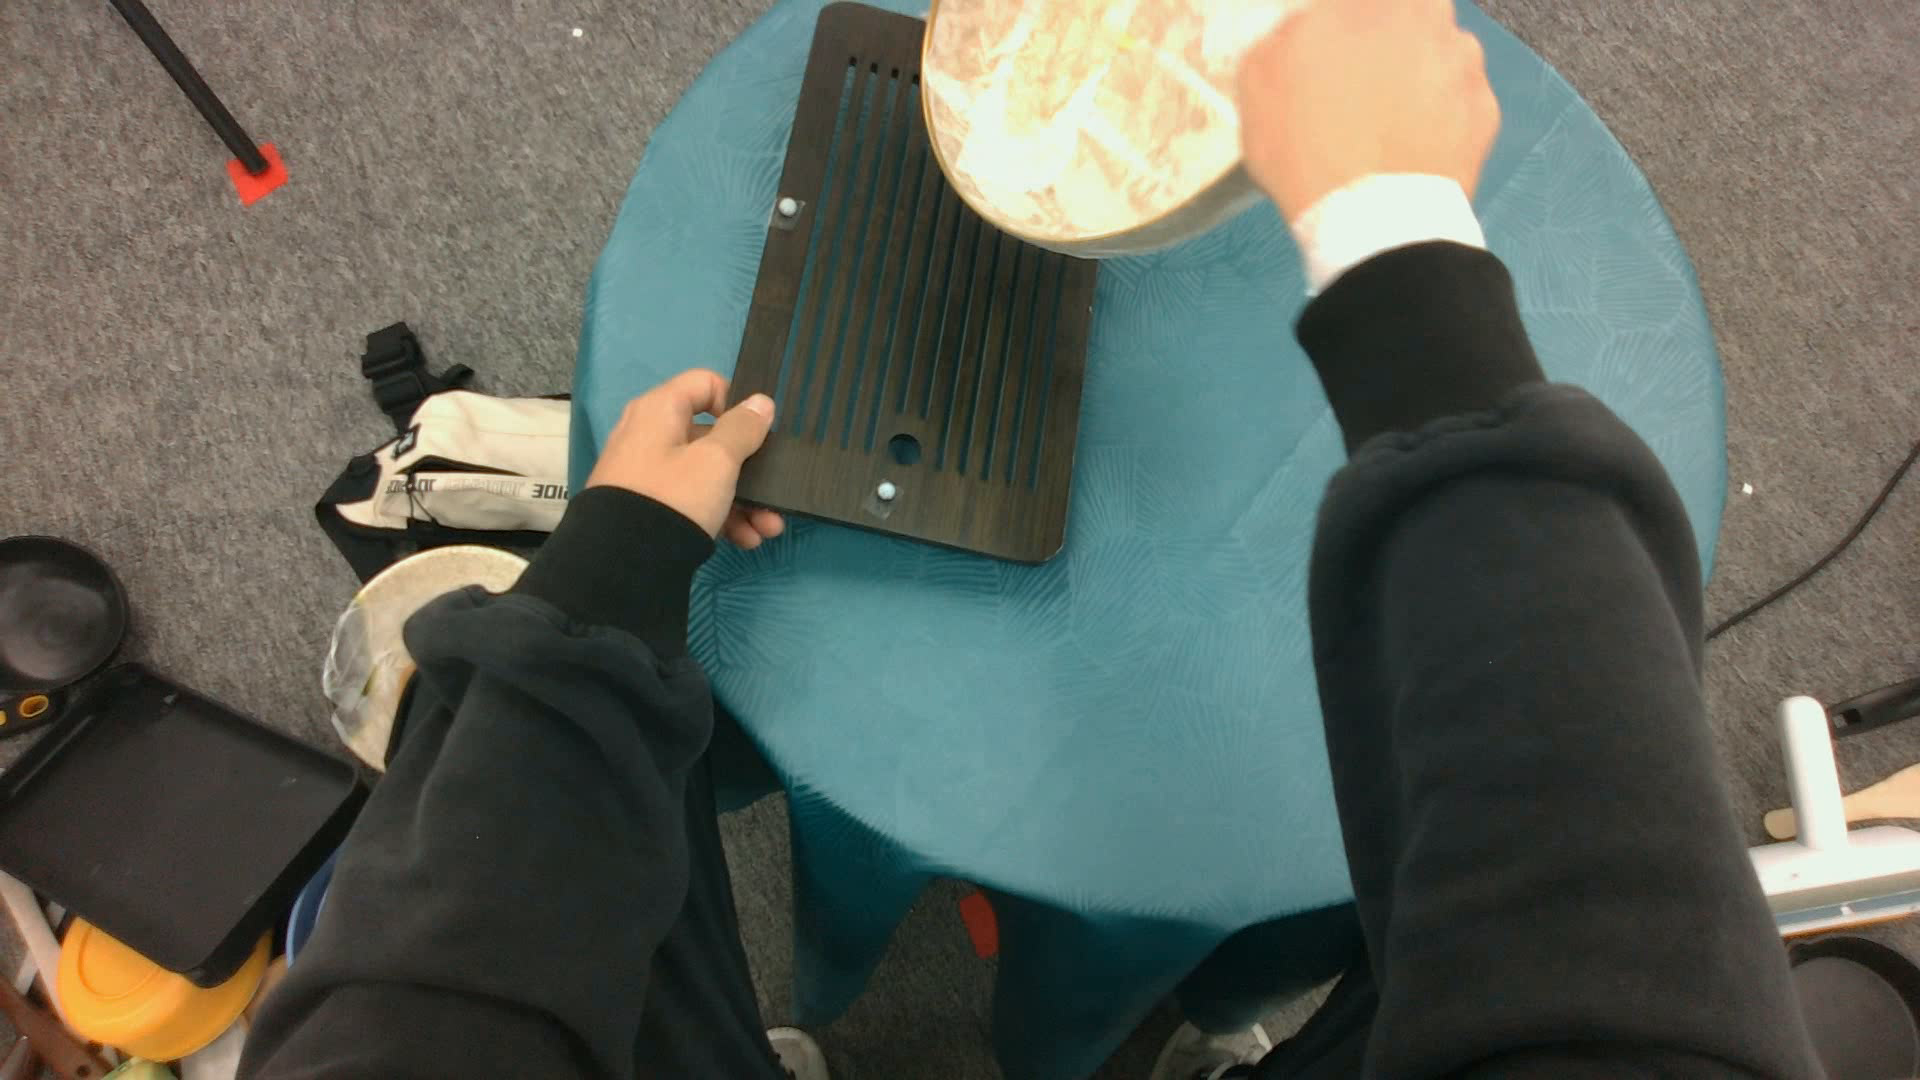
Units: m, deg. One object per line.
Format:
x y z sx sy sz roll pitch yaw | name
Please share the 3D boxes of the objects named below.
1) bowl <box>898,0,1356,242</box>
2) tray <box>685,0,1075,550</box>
0.081 -0.217 0.614 0.214 0.094 0.215 -7 76 28 | bowl
-0.027 -0.148 0.704 0.170 0.018 0.307 13 66 -9 | tray
